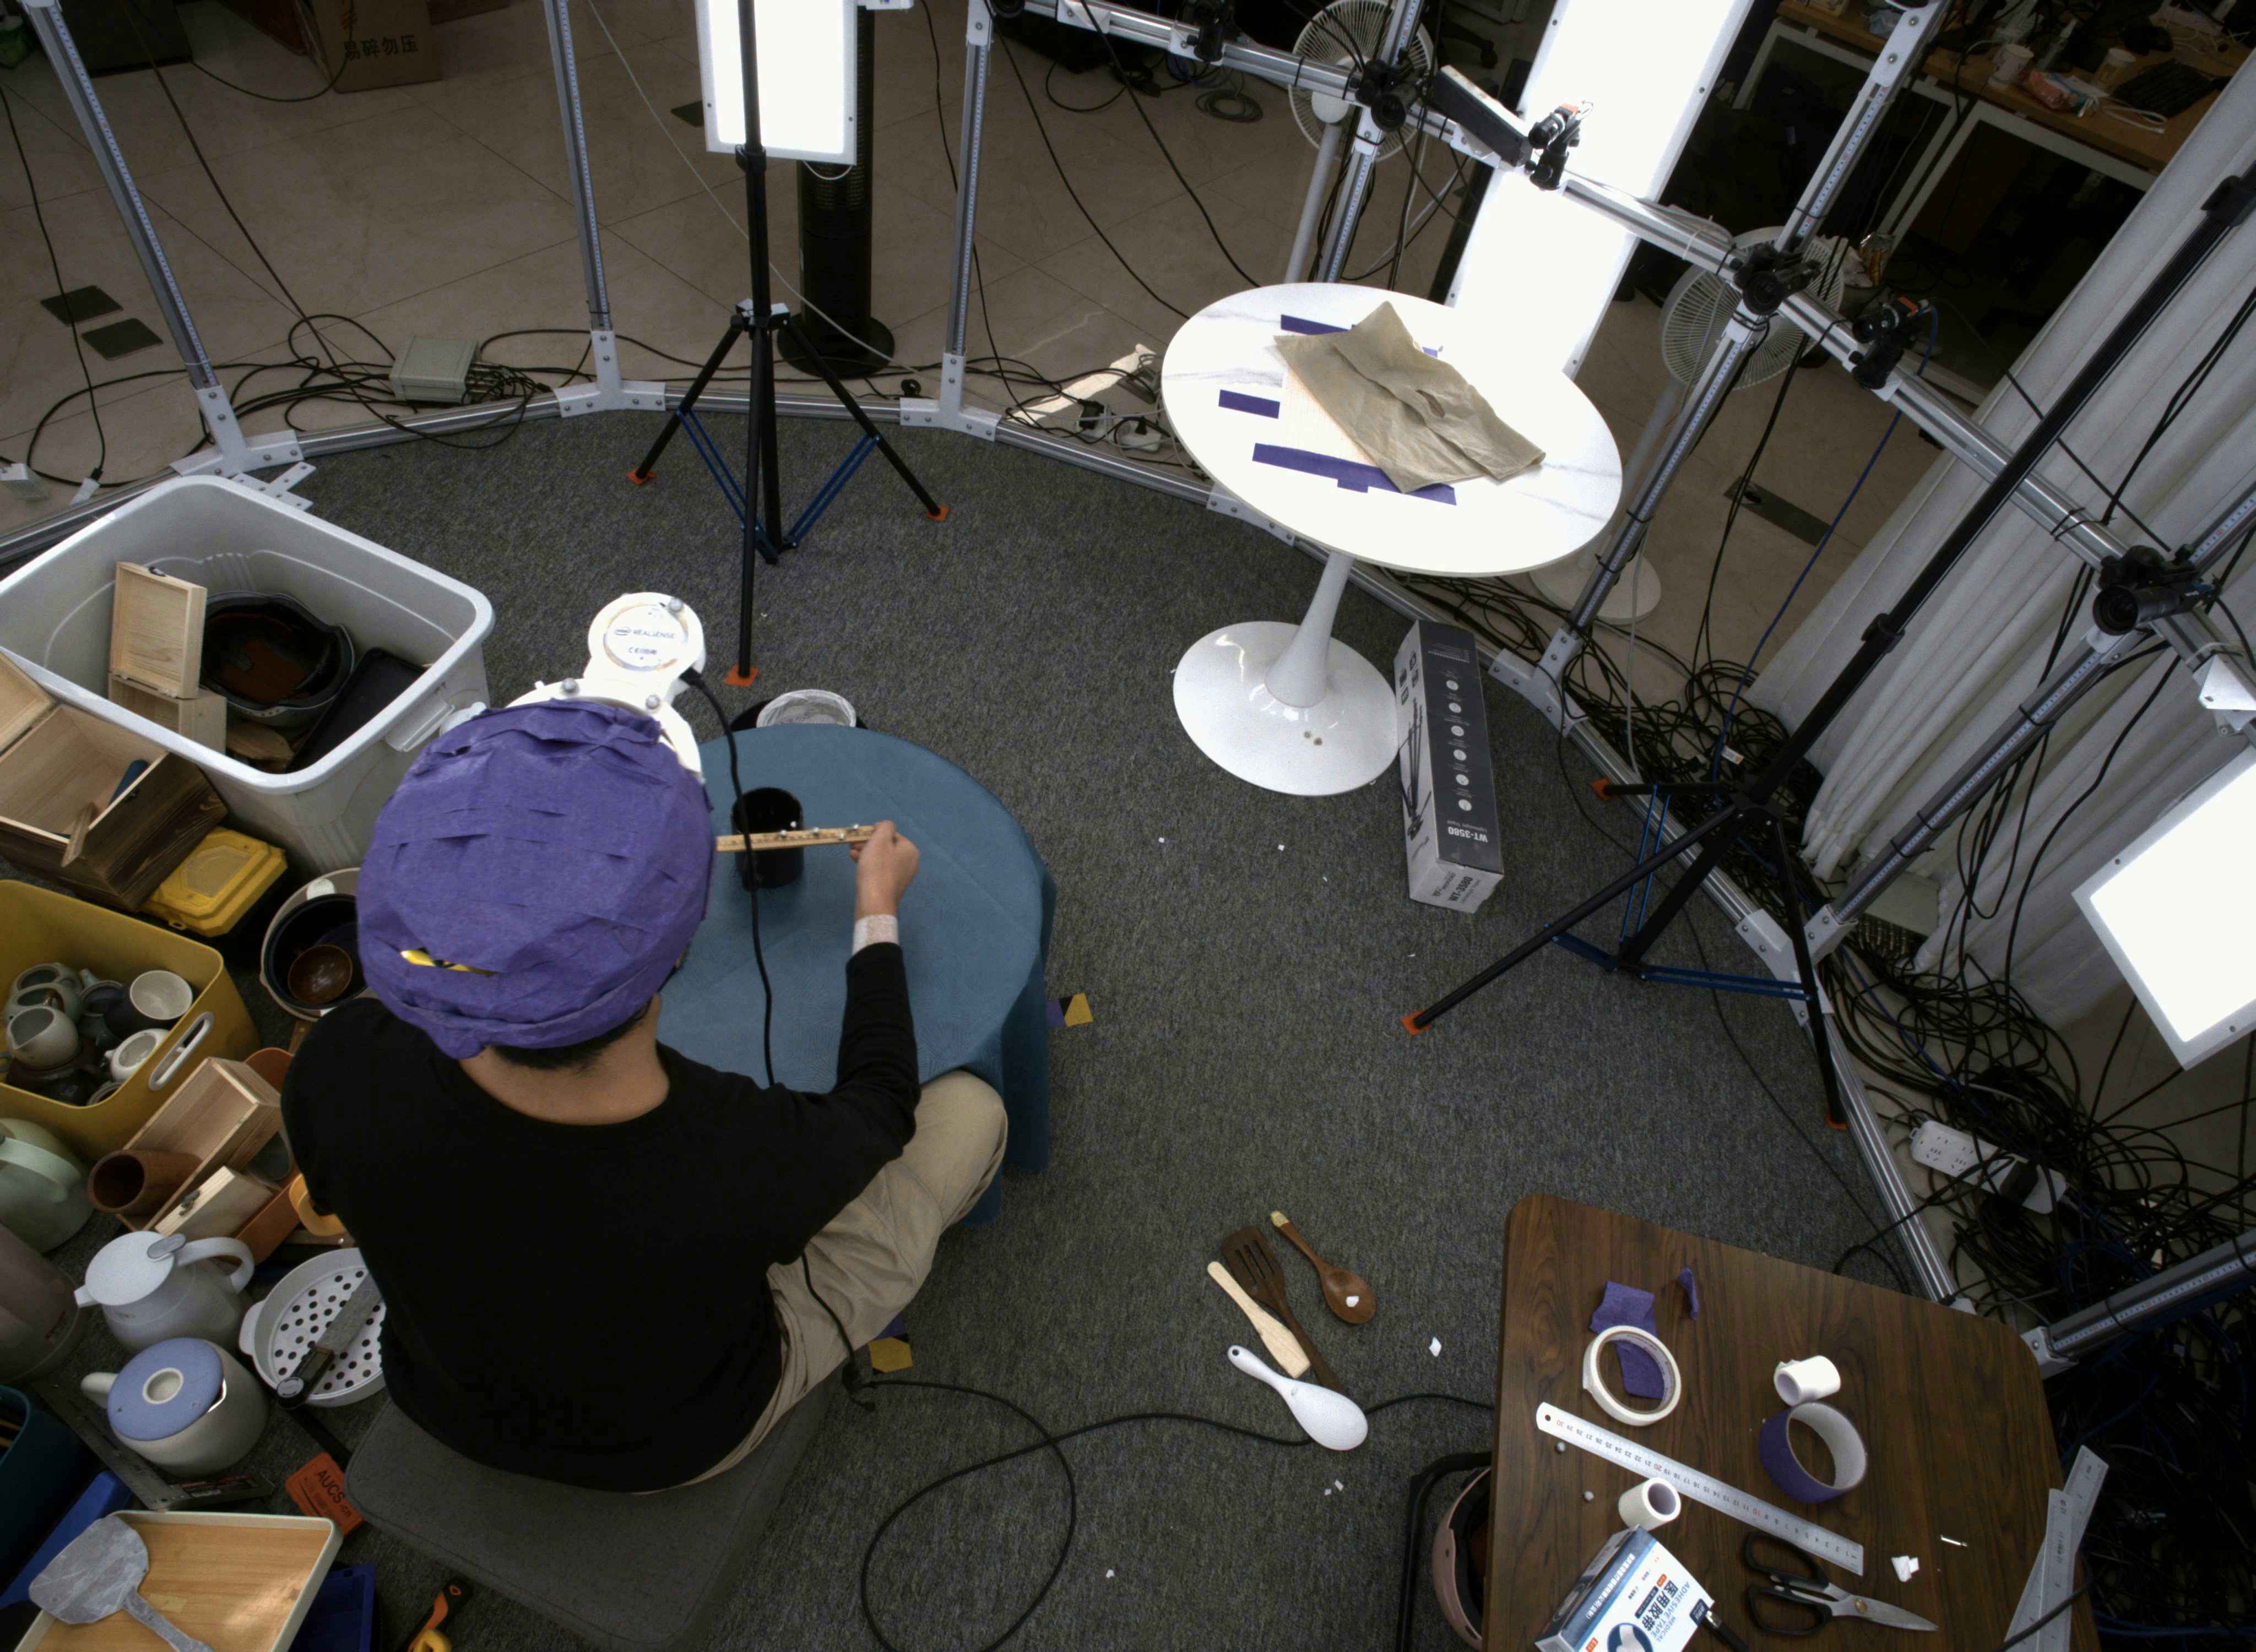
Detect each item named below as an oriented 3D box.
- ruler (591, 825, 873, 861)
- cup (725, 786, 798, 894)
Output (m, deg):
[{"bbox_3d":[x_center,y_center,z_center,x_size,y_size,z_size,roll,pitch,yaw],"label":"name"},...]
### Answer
[{"bbox_3d":[-0.467,0.016,1.527,0.335,0.023,0.026,-4,41,-27],"label":"ruler"},{"bbox_3d":[-0.465,0.027,1.620,0.088,0.107,0.122,16,50,-2],"label":"cup"}]
